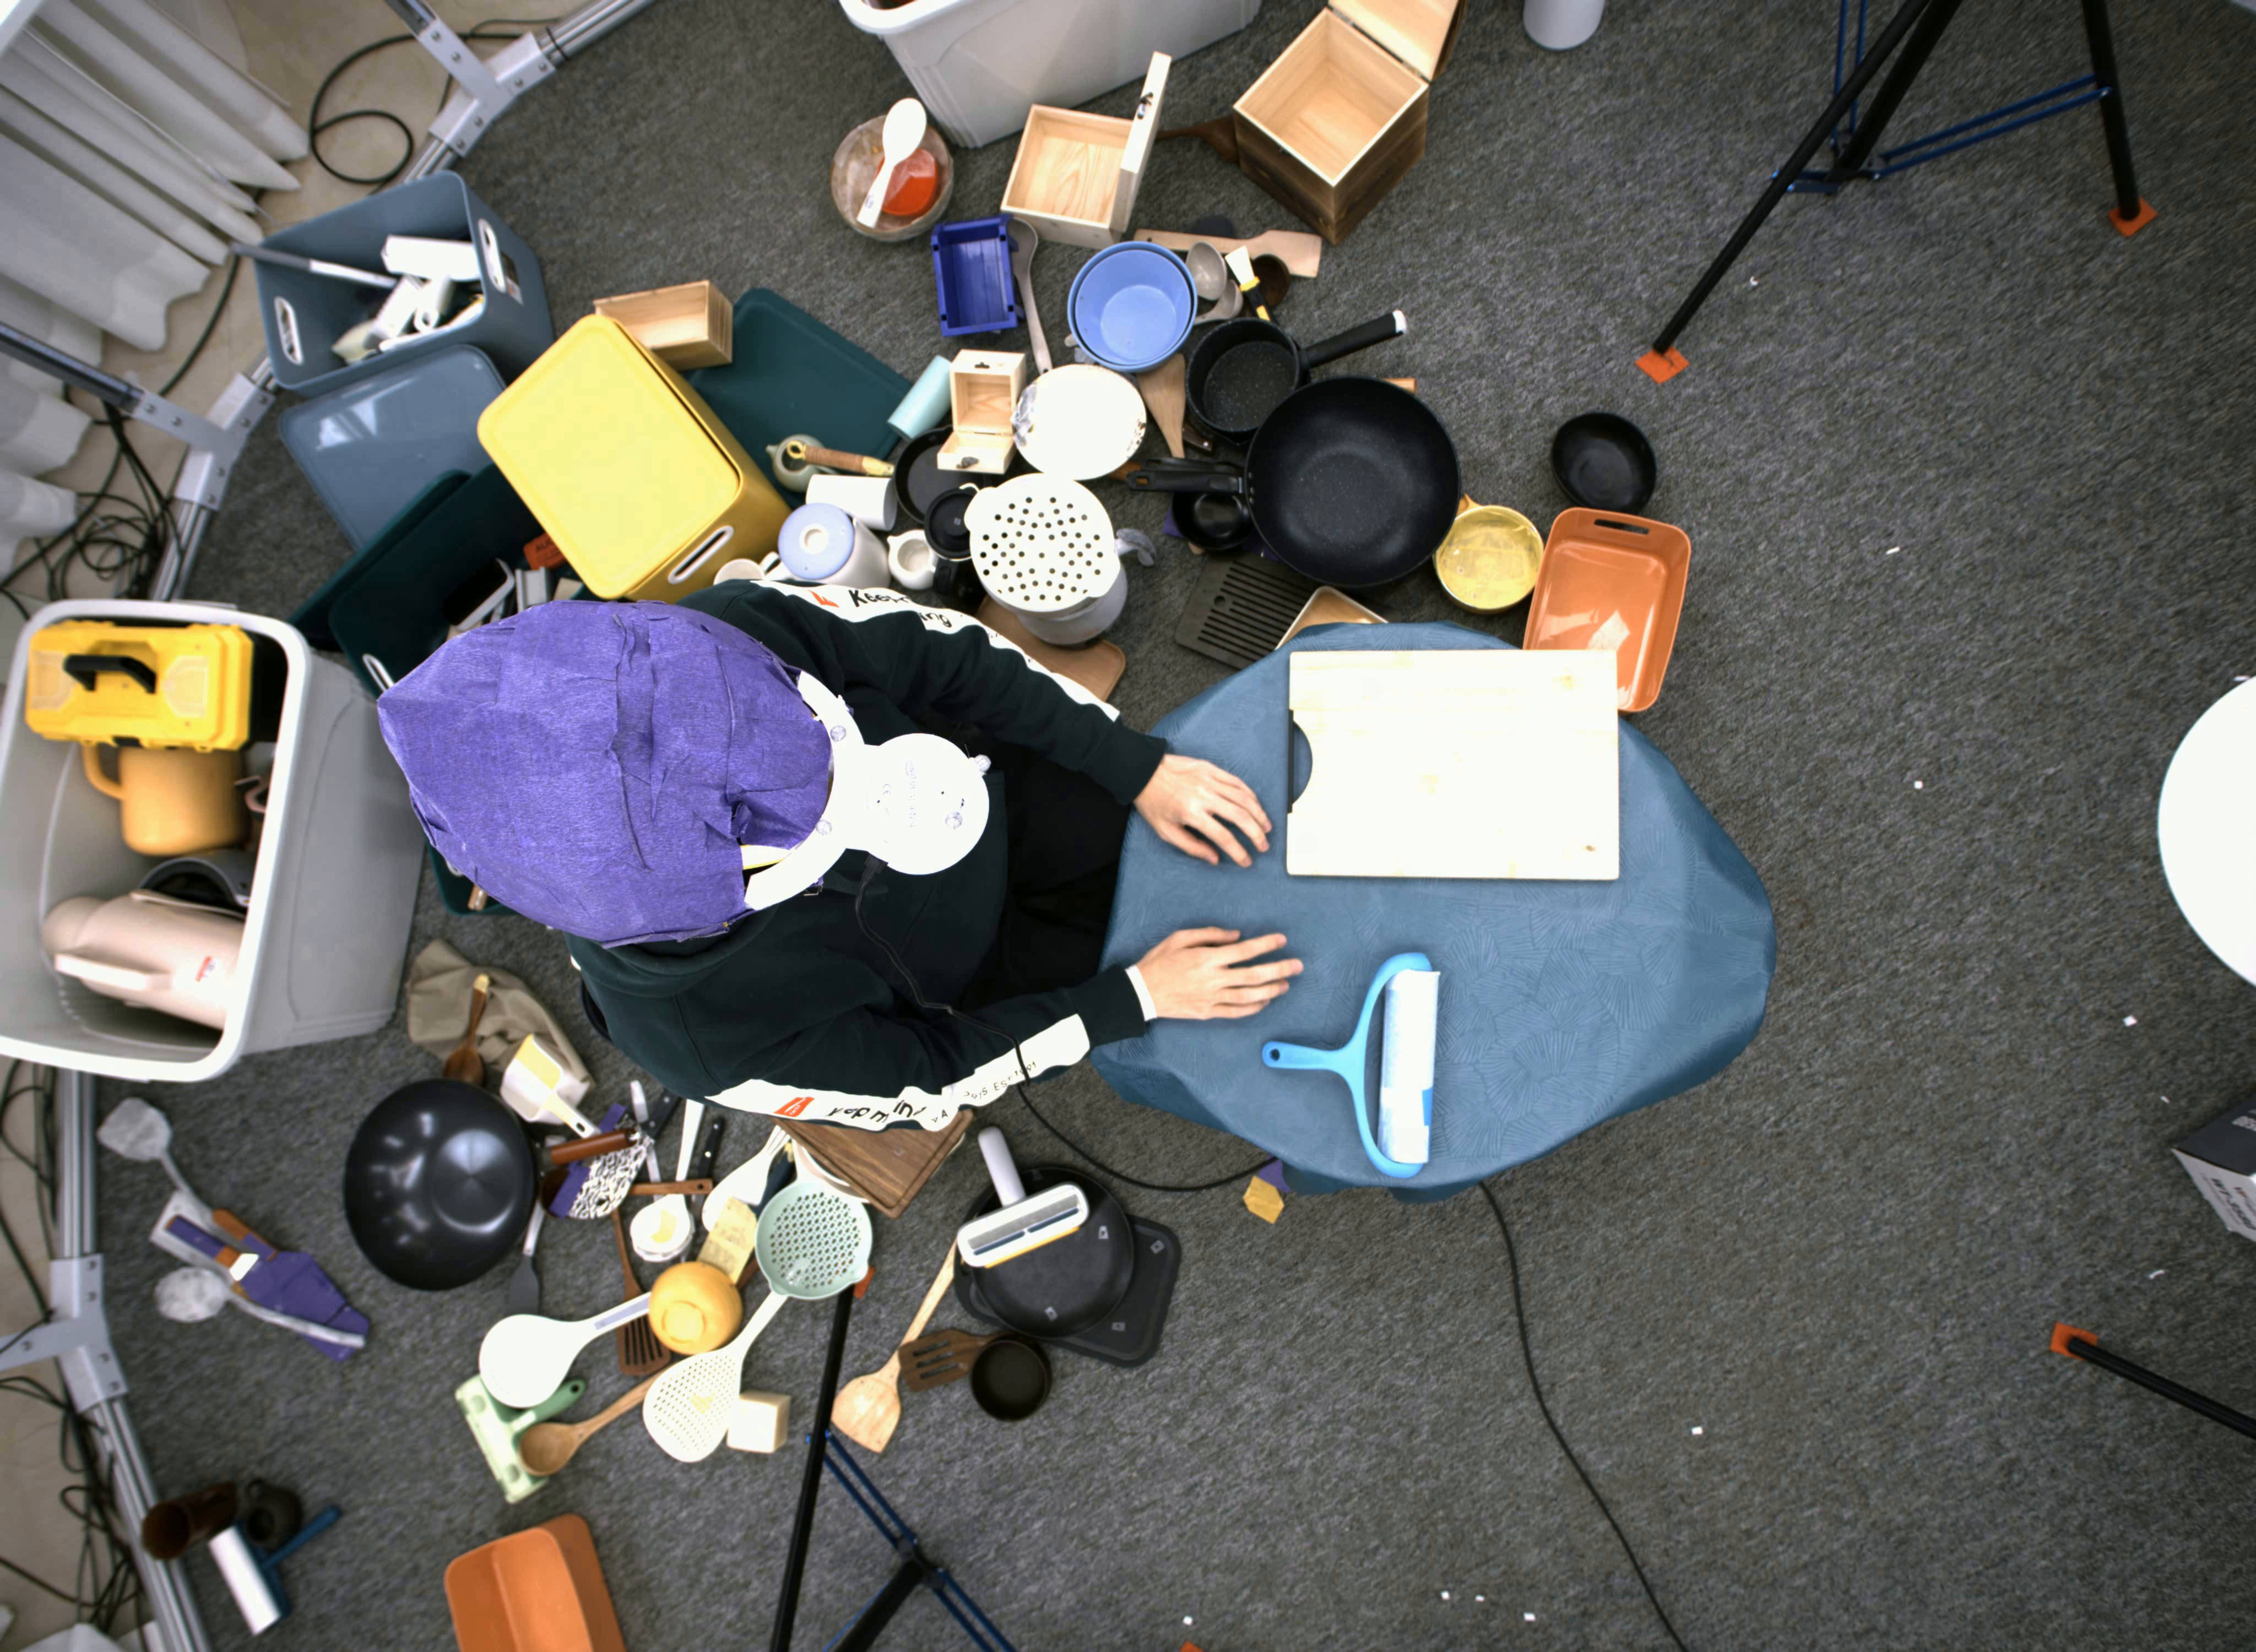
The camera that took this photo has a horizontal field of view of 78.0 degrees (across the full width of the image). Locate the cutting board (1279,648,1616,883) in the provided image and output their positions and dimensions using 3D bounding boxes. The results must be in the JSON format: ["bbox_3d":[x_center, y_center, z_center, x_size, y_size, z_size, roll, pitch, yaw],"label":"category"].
[{"bbox_3d":[0.334,-0.068,1.443,0.350,0.023,0.249,0,87,10],"label":"cutting board"}]

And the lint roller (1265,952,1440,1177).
[{"bbox_3d":[0.230,0.242,1.425,0.181,0.068,0.228,0,88,10],"label":"lint roller"}]
